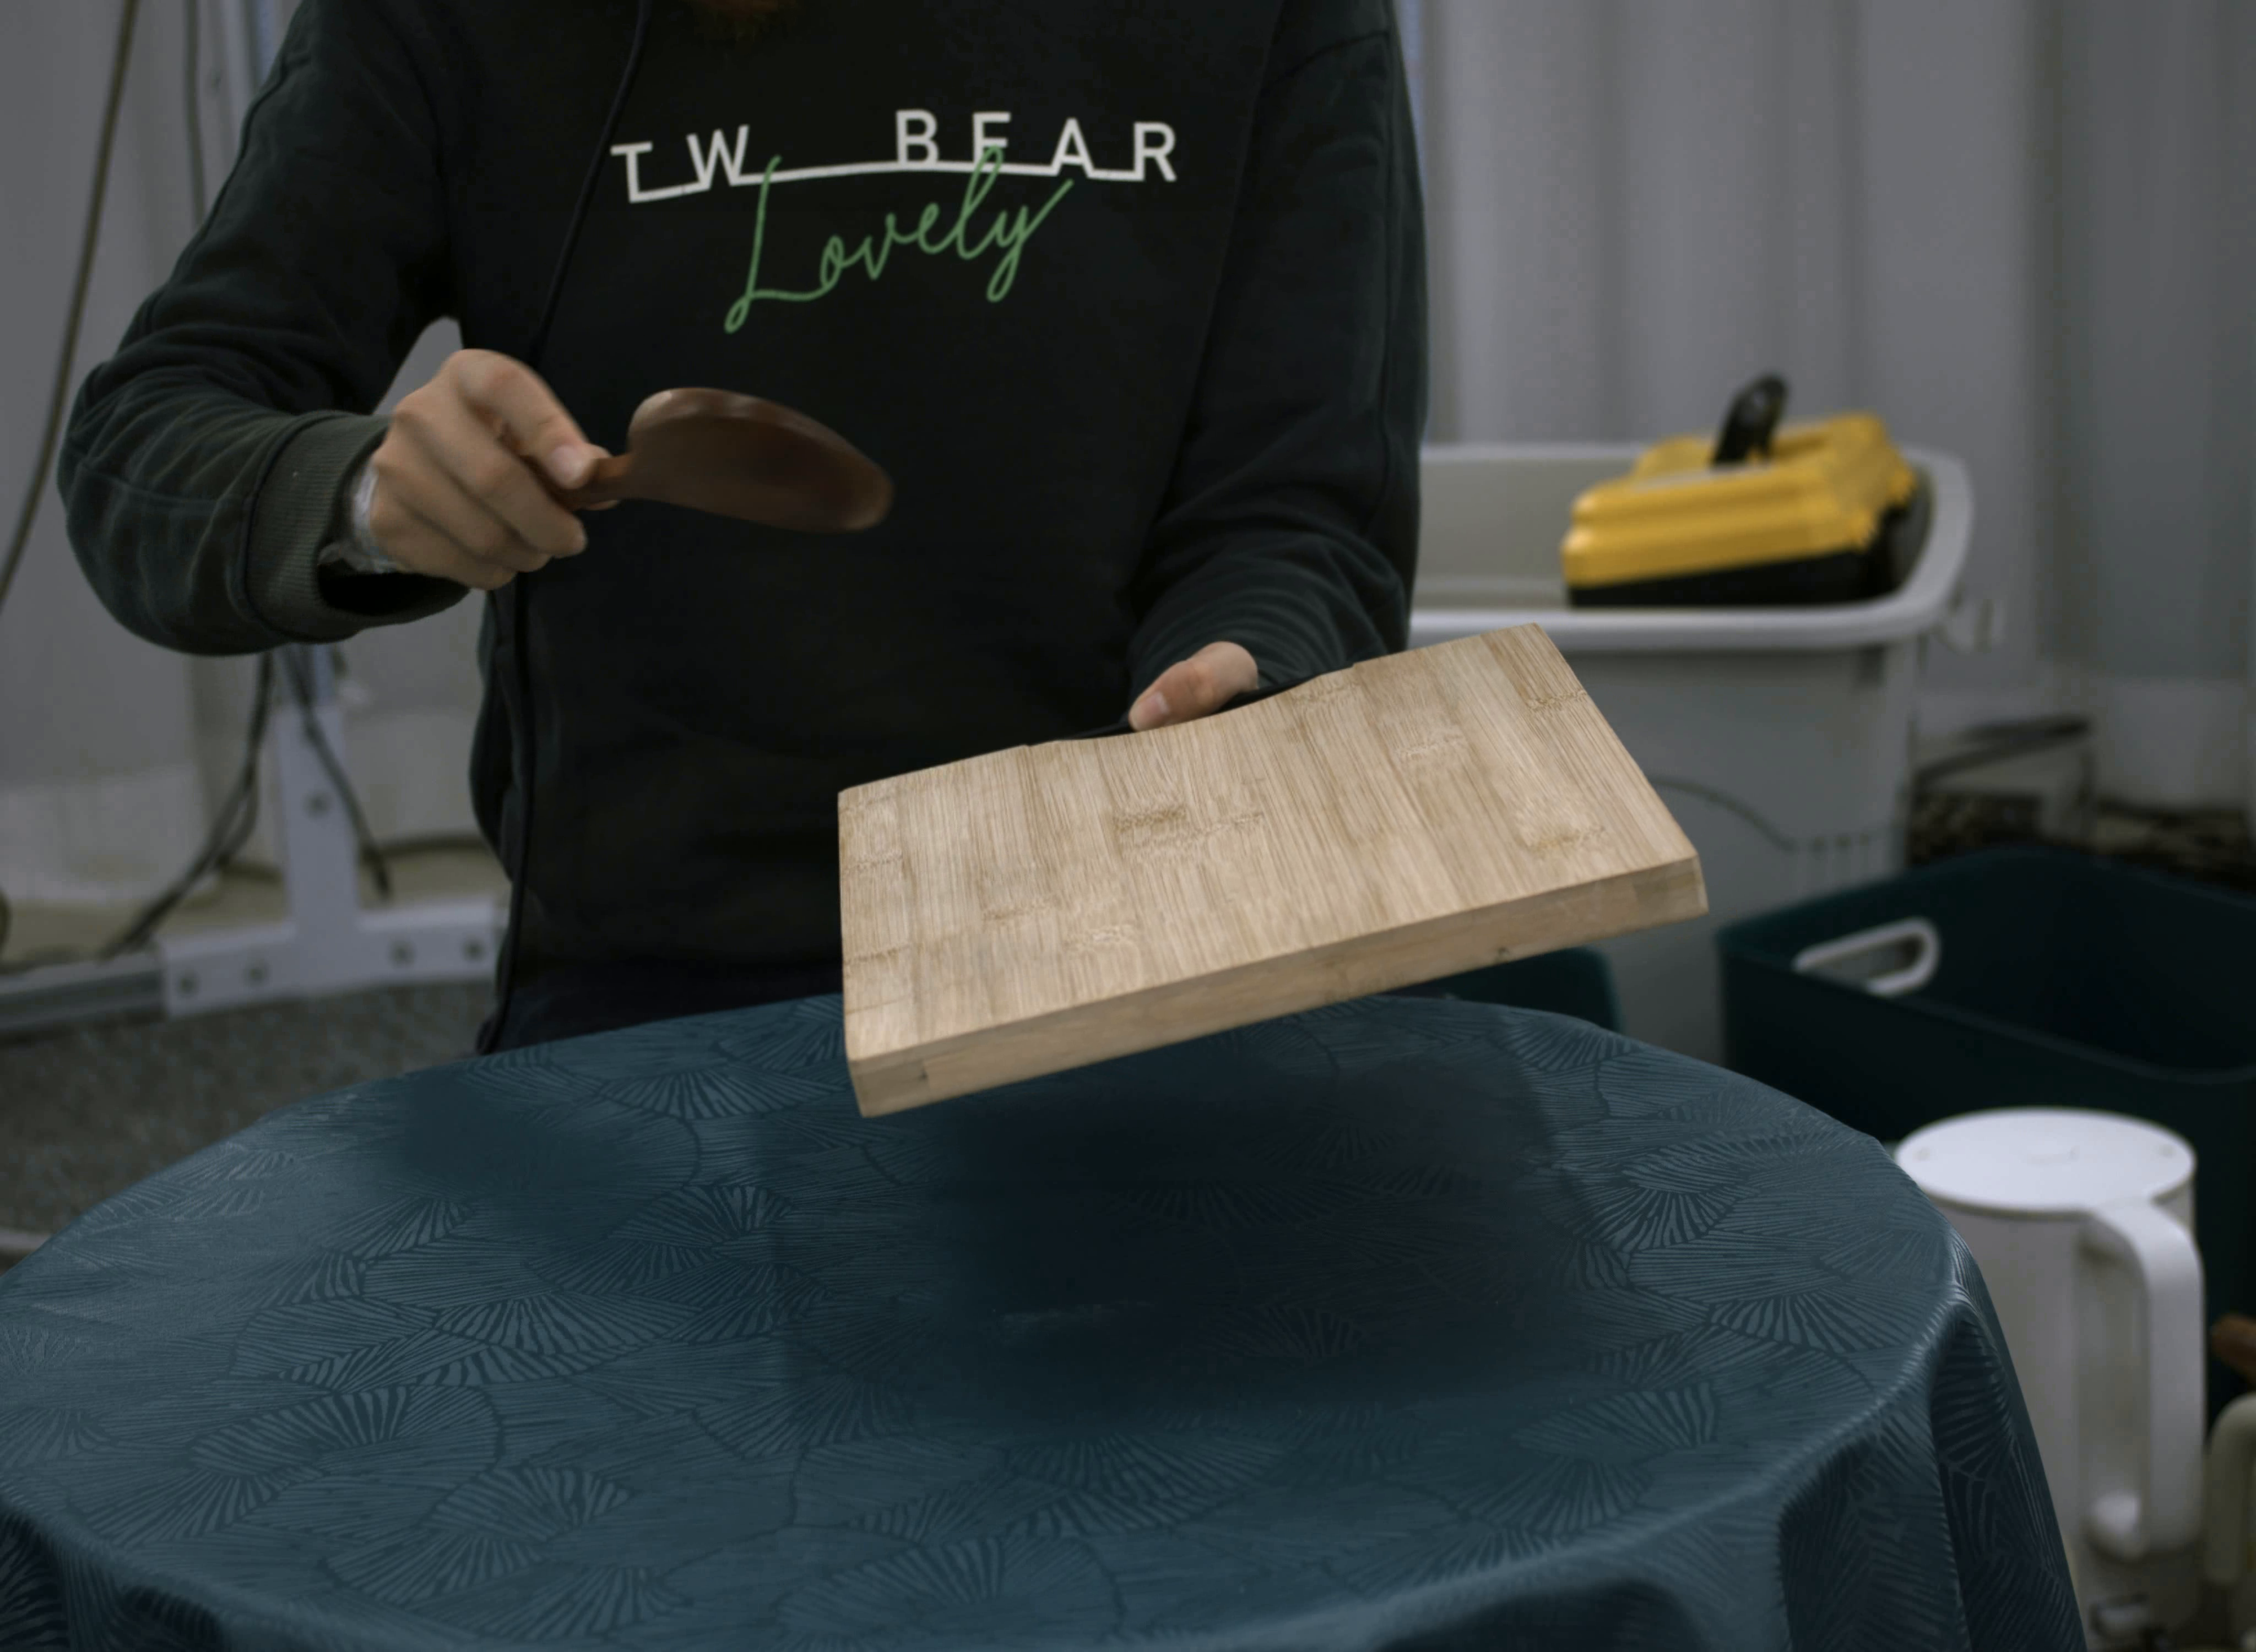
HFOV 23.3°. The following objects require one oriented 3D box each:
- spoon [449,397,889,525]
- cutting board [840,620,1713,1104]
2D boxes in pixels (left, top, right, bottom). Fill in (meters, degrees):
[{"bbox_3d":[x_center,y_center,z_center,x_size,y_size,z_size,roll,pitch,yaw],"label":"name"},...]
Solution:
[{"bbox_3d":[-0.147,-0.105,1.652,0.074,0.017,0.216,27,-14,-32],"label":"spoon"},{"bbox_3d":[0.032,0.005,1.660,0.250,0.023,0.351,-13,13,-1],"label":"cutting board"}]
